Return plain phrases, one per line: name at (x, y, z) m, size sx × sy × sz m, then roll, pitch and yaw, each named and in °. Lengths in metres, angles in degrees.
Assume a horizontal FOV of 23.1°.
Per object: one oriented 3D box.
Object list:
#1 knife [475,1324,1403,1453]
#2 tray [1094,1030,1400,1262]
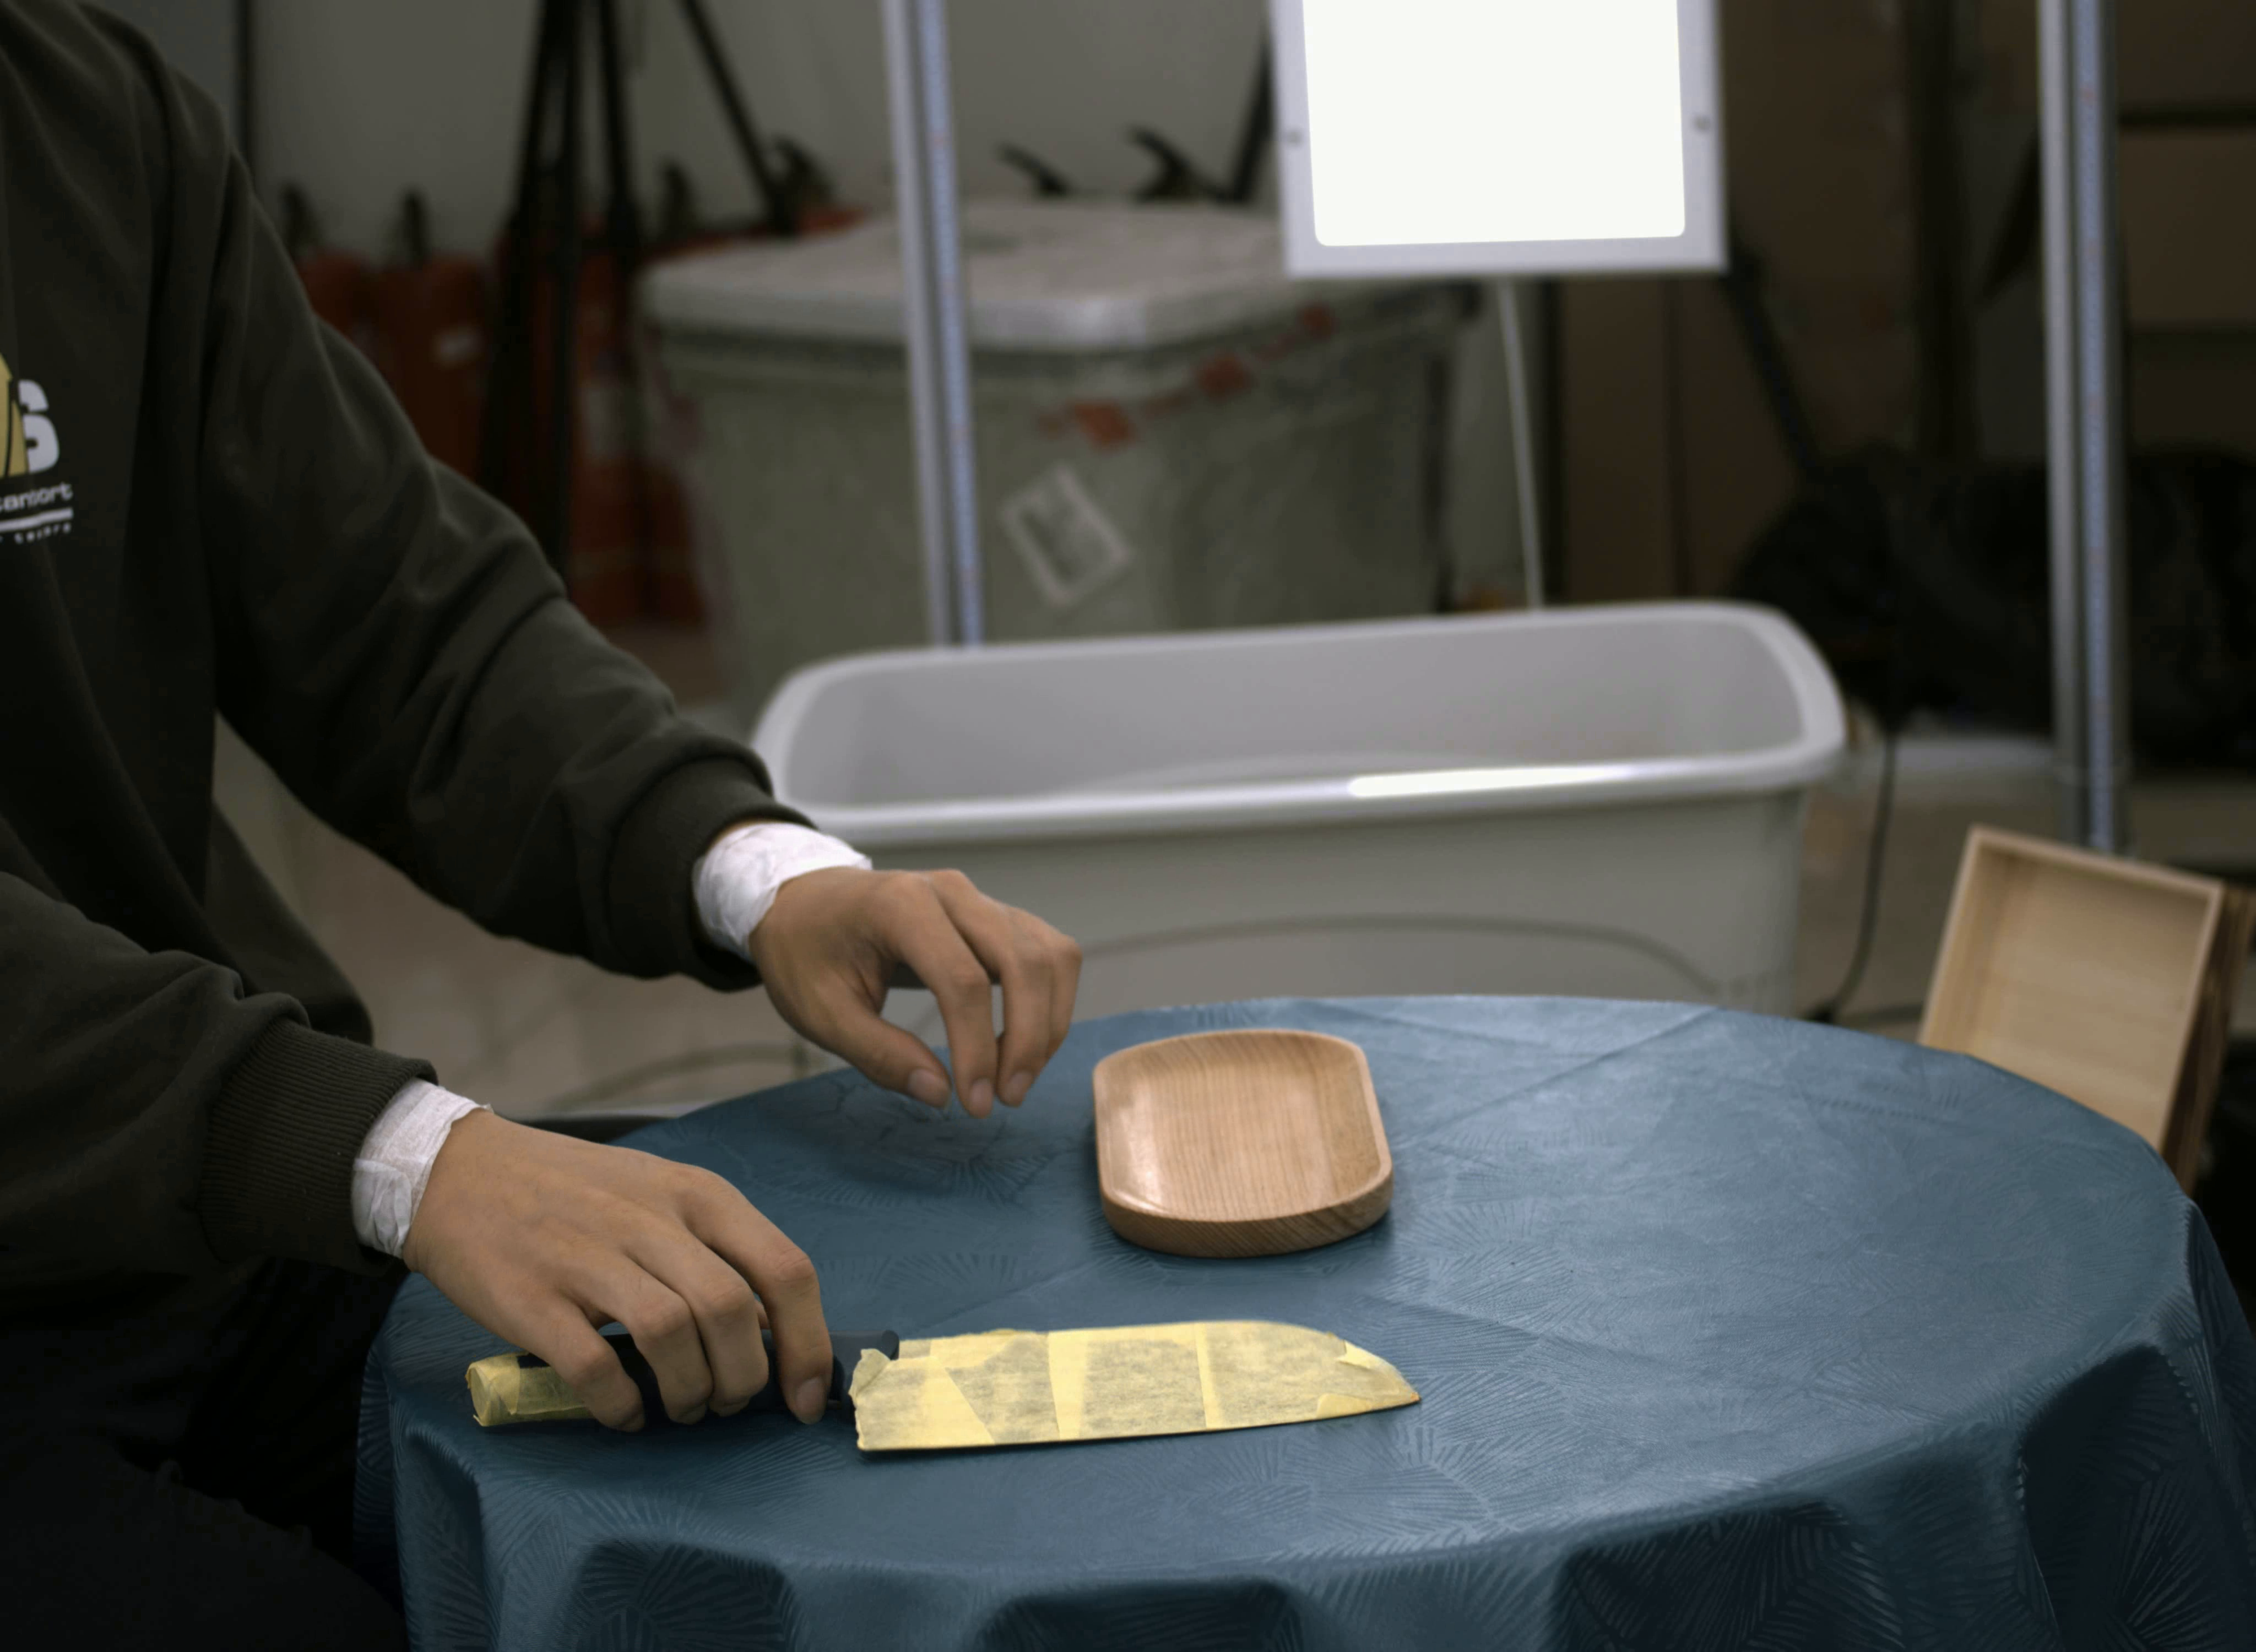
knife at (-0.059, 0.175, 1.696) m, size 0.289 × 0.027 × 0.080 m, roll -4°, pitch 17°, yaw 4°
tray at (0.040, 0.110, 1.923) m, size 0.101 × 0.020 × 0.231 m, roll -7°, pitch 15°, yaw 0°
